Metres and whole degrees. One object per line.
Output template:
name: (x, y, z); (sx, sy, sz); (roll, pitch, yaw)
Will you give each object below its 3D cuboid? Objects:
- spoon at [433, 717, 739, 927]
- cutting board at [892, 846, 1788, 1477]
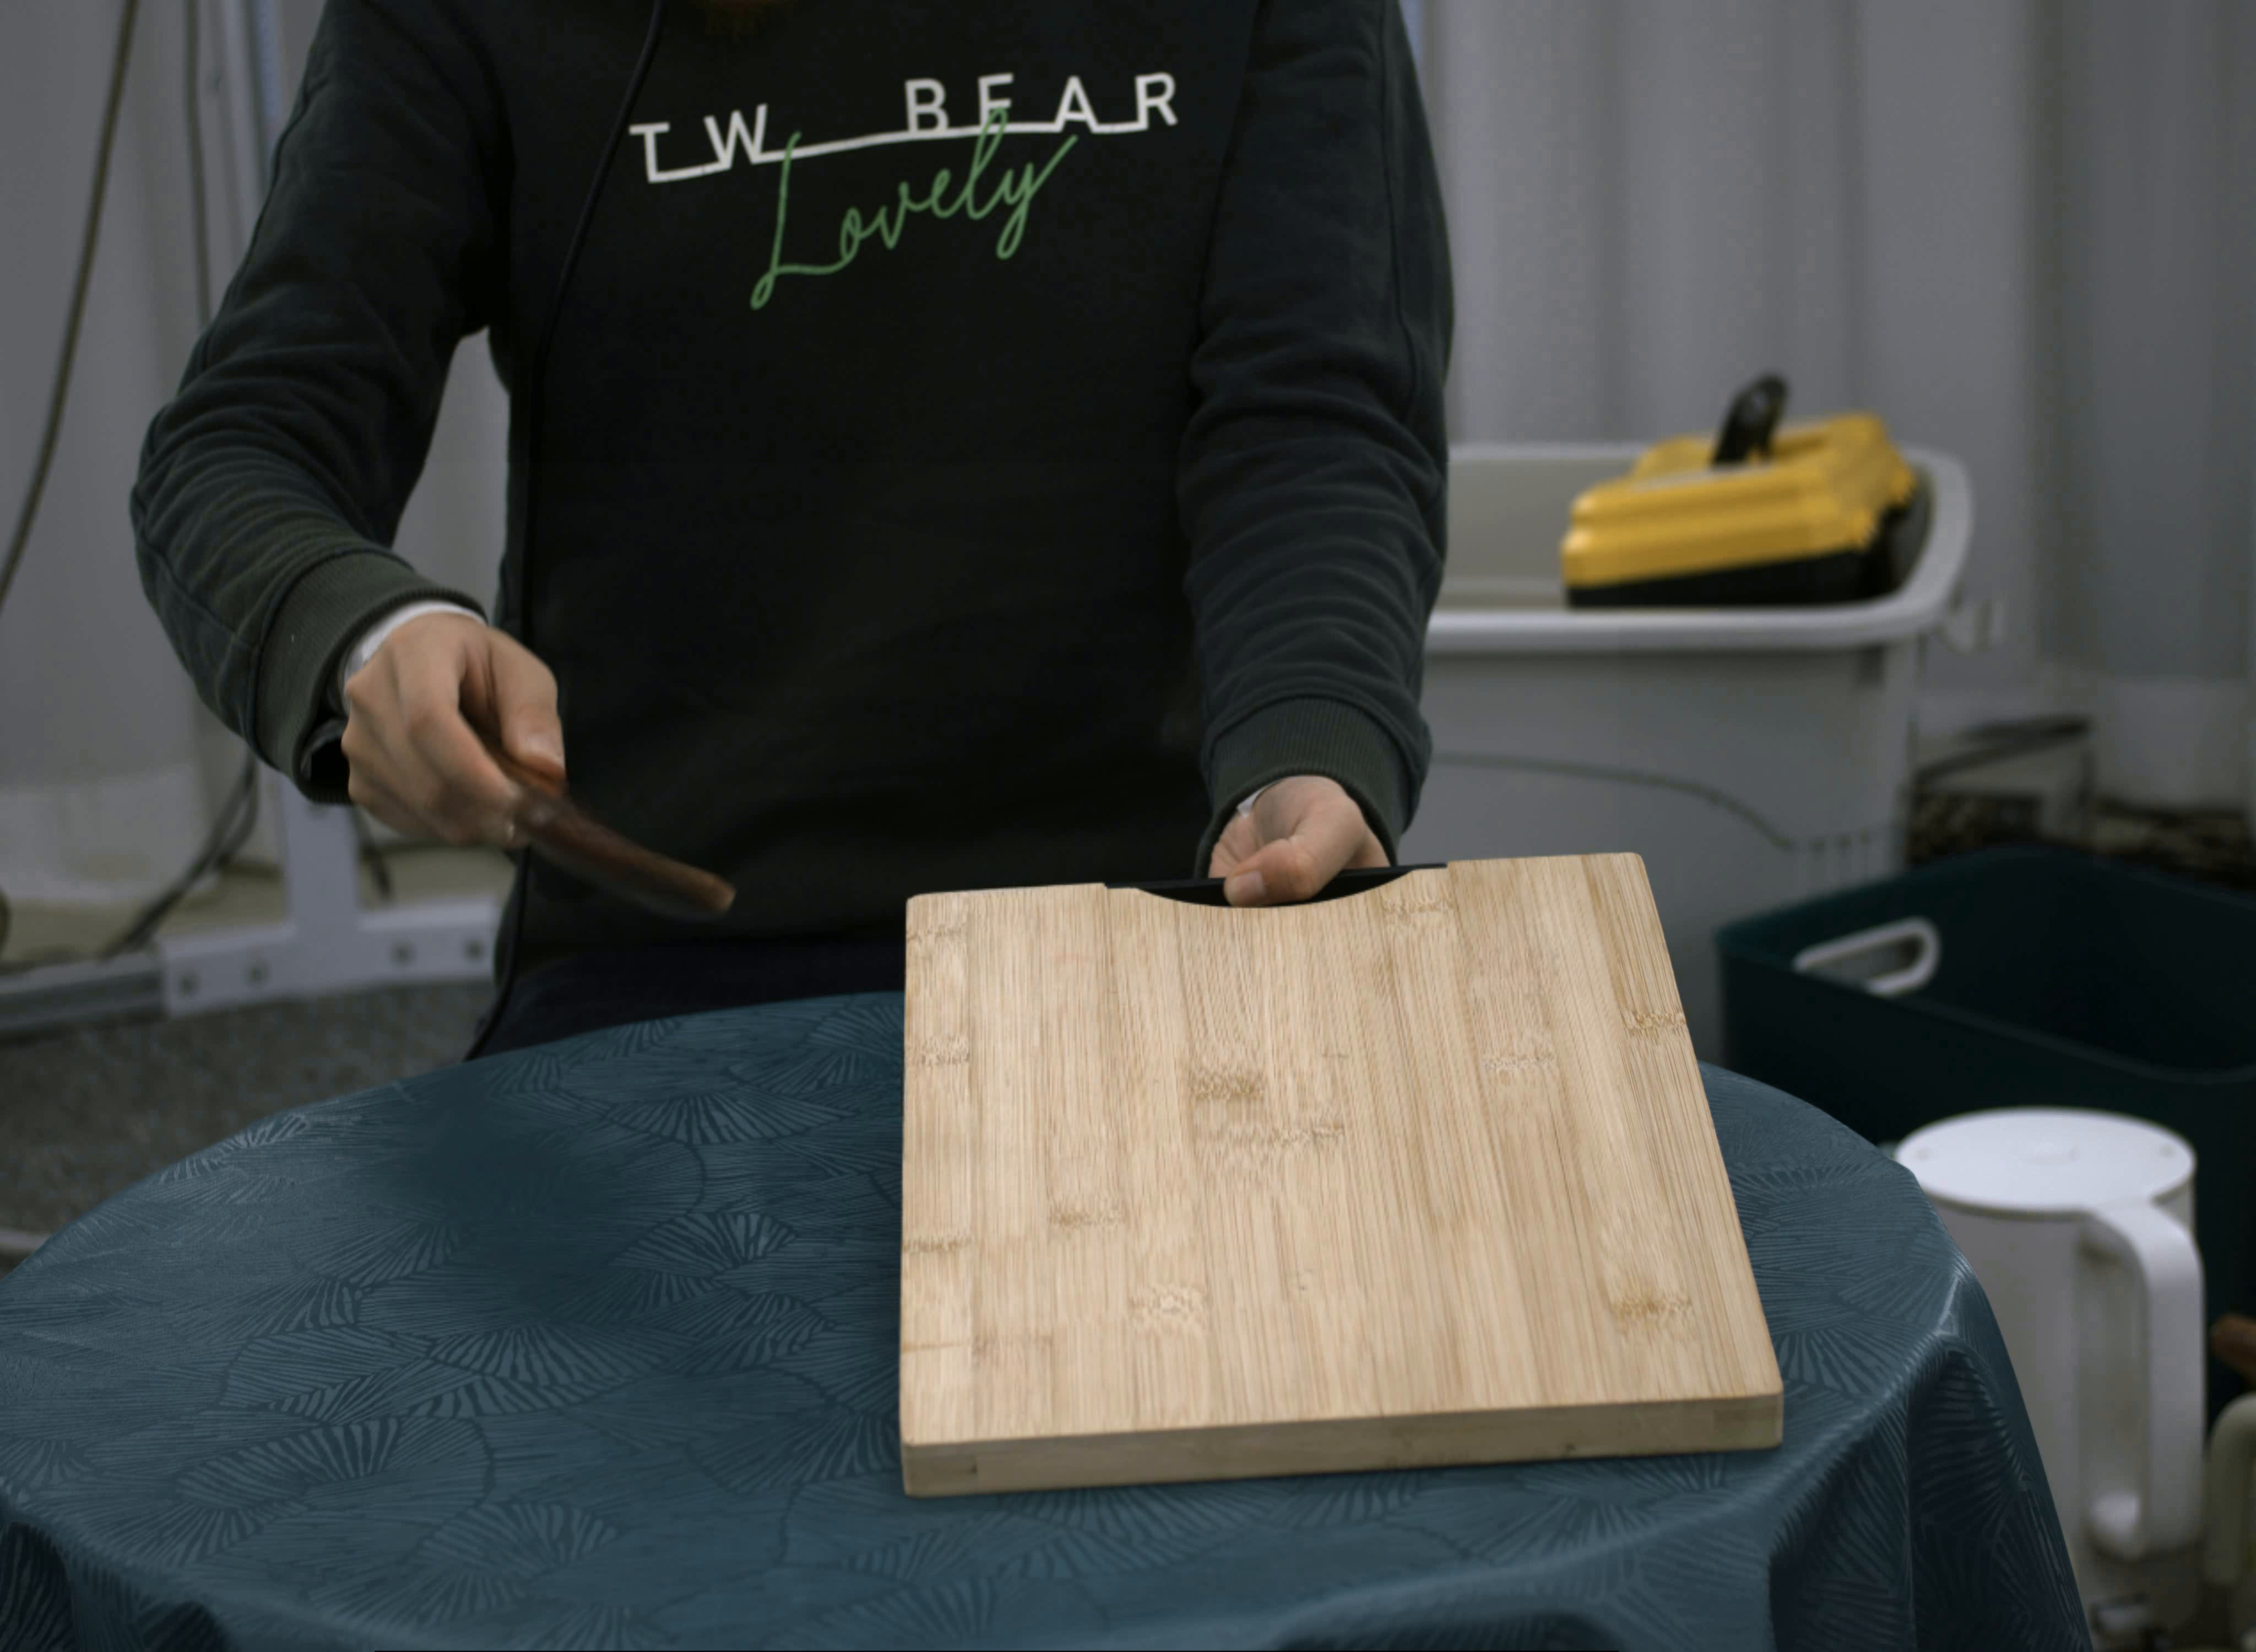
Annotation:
spoon: (-0.173, -0.002, 1.638); (0.075, 0.017, 0.217); (22, 4, -24)
cutting board: (0.054, 0.094, 1.630); (0.250, 0.023, 0.352); (-3, 25, -1)
